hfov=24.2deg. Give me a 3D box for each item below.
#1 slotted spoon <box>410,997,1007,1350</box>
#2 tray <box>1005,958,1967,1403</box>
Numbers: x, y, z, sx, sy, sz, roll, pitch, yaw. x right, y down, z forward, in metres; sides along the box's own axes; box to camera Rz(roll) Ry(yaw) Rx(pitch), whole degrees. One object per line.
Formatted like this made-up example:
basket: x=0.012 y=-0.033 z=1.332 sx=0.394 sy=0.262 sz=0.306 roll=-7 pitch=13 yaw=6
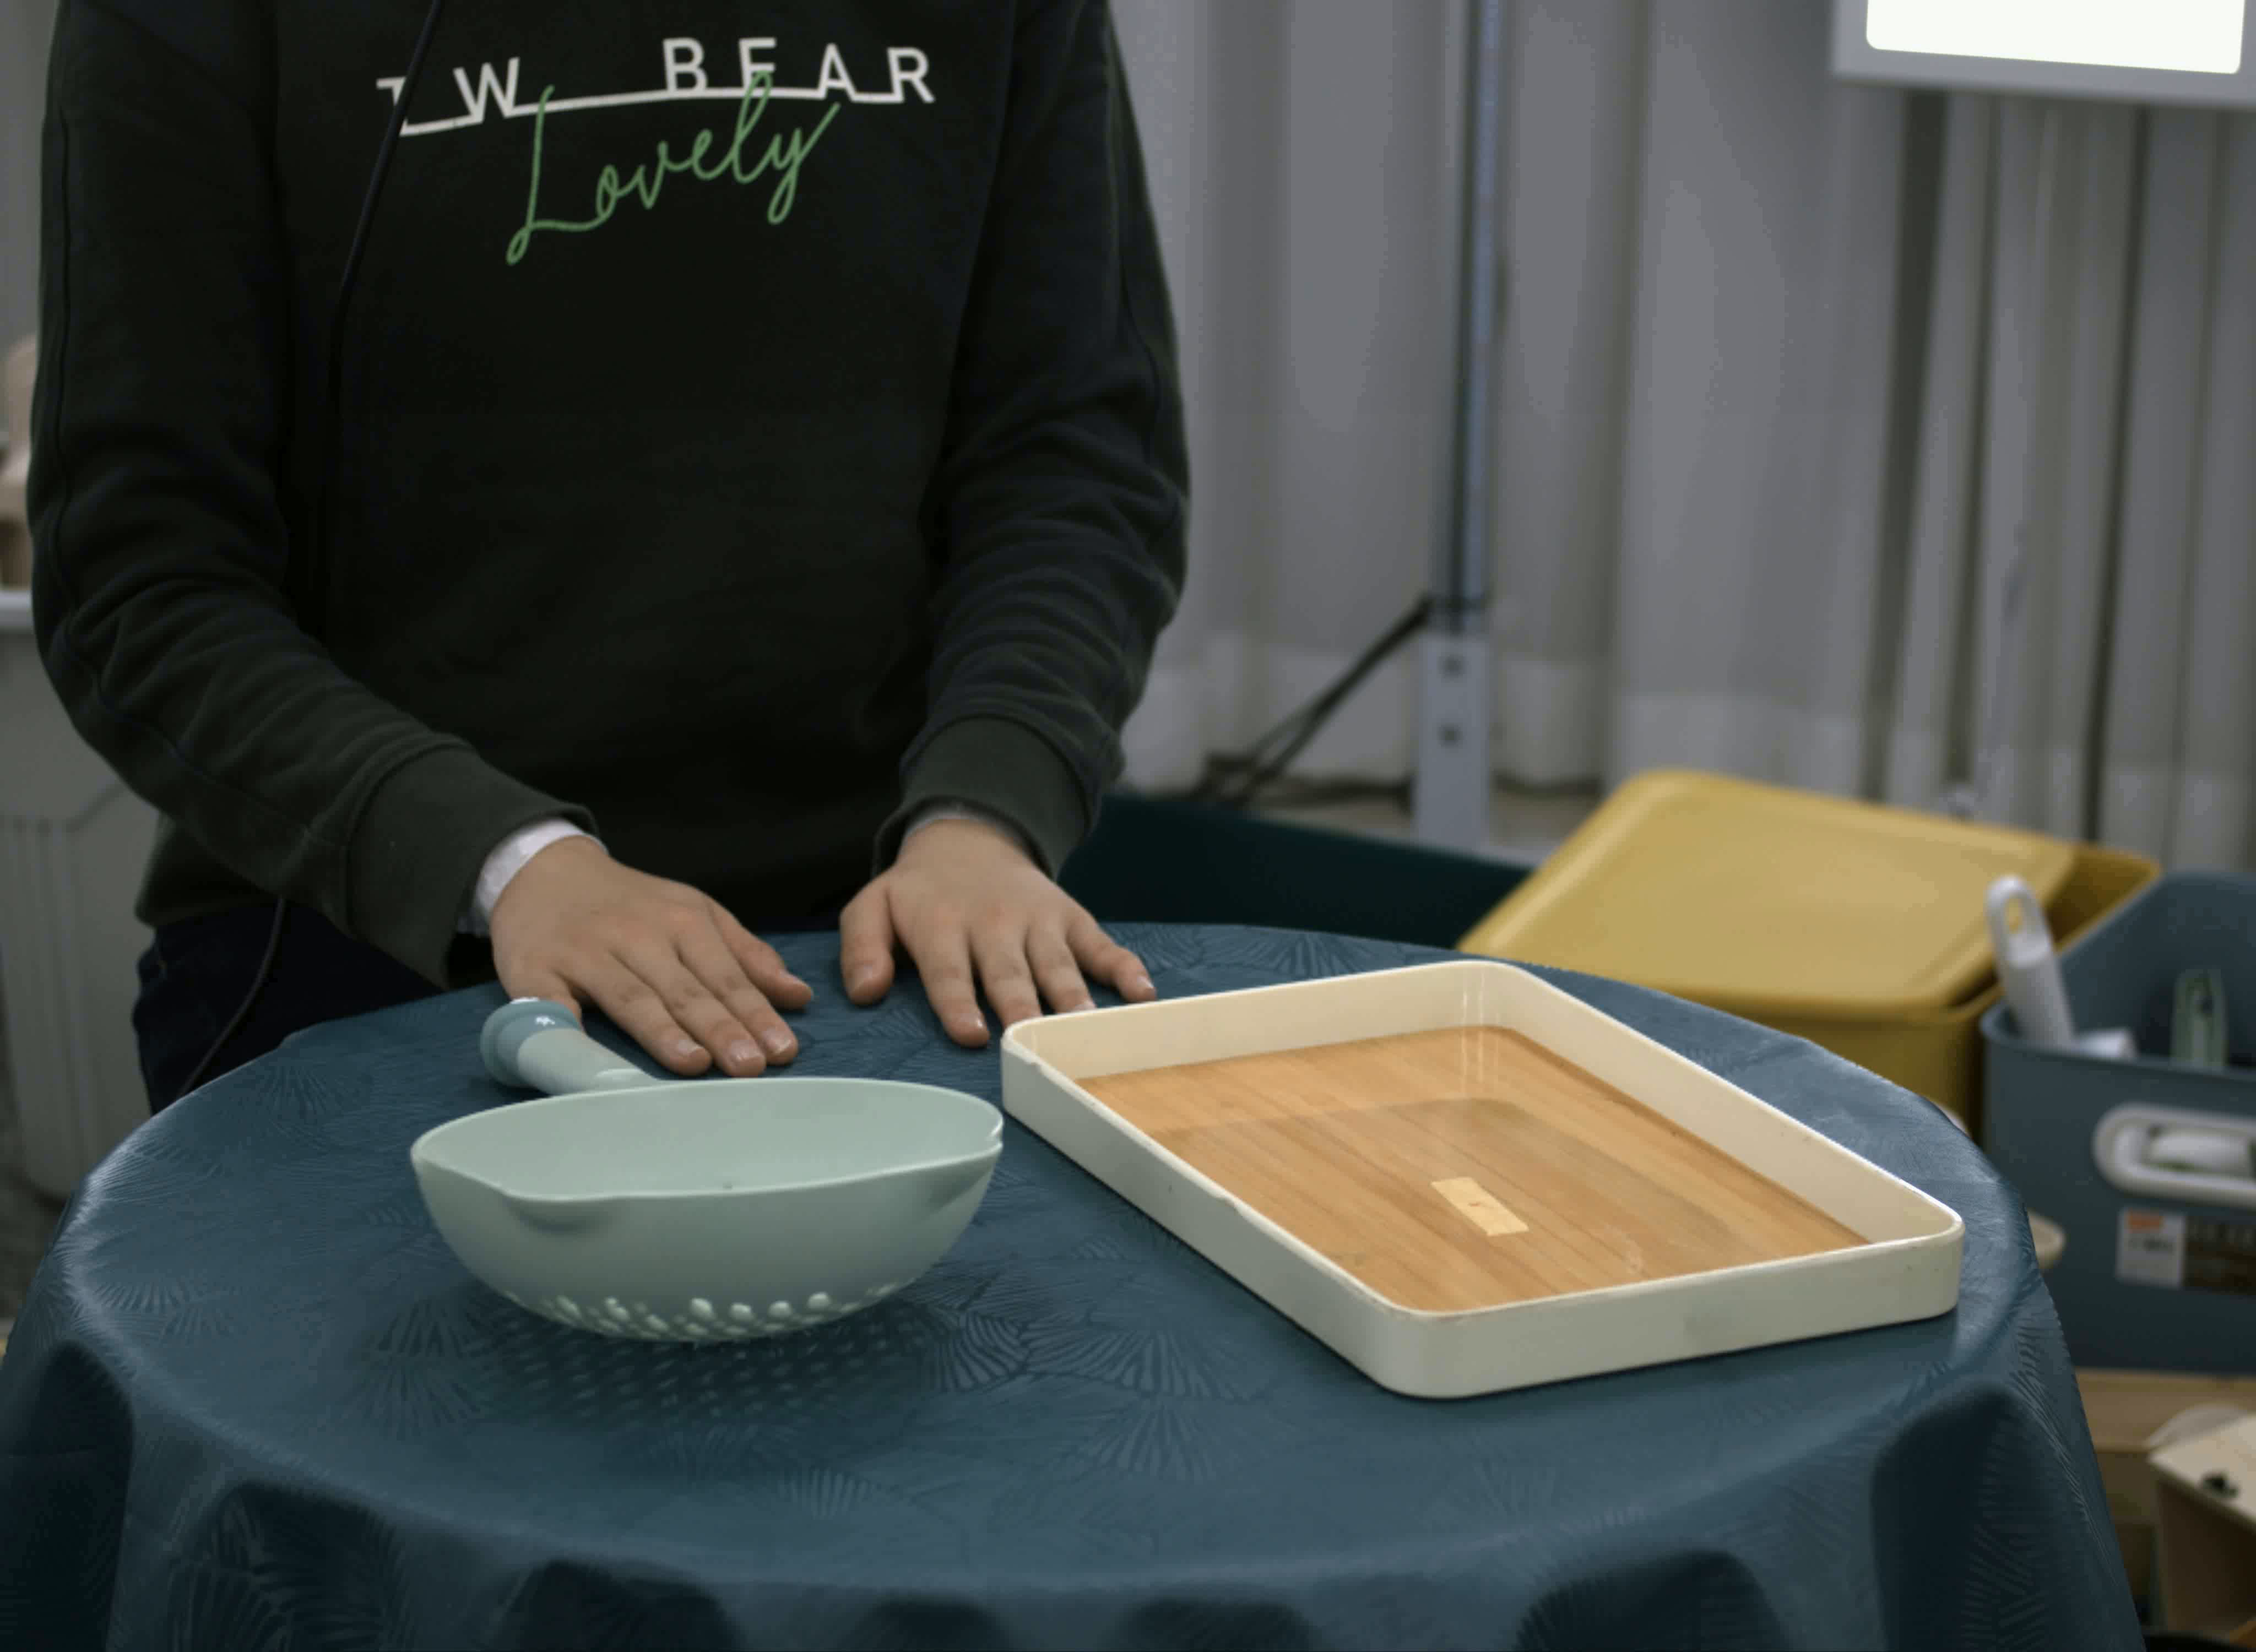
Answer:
slotted spoon: x=-0.149 y=0.088 z=1.588 sx=0.170 sy=0.076 sz=0.355 roll=-4 pitch=17 yaw=-18
tray: x=0.102 y=0.103 z=1.616 sx=0.192 sy=0.027 sz=0.296 roll=-7 pitch=18 yaw=-24
